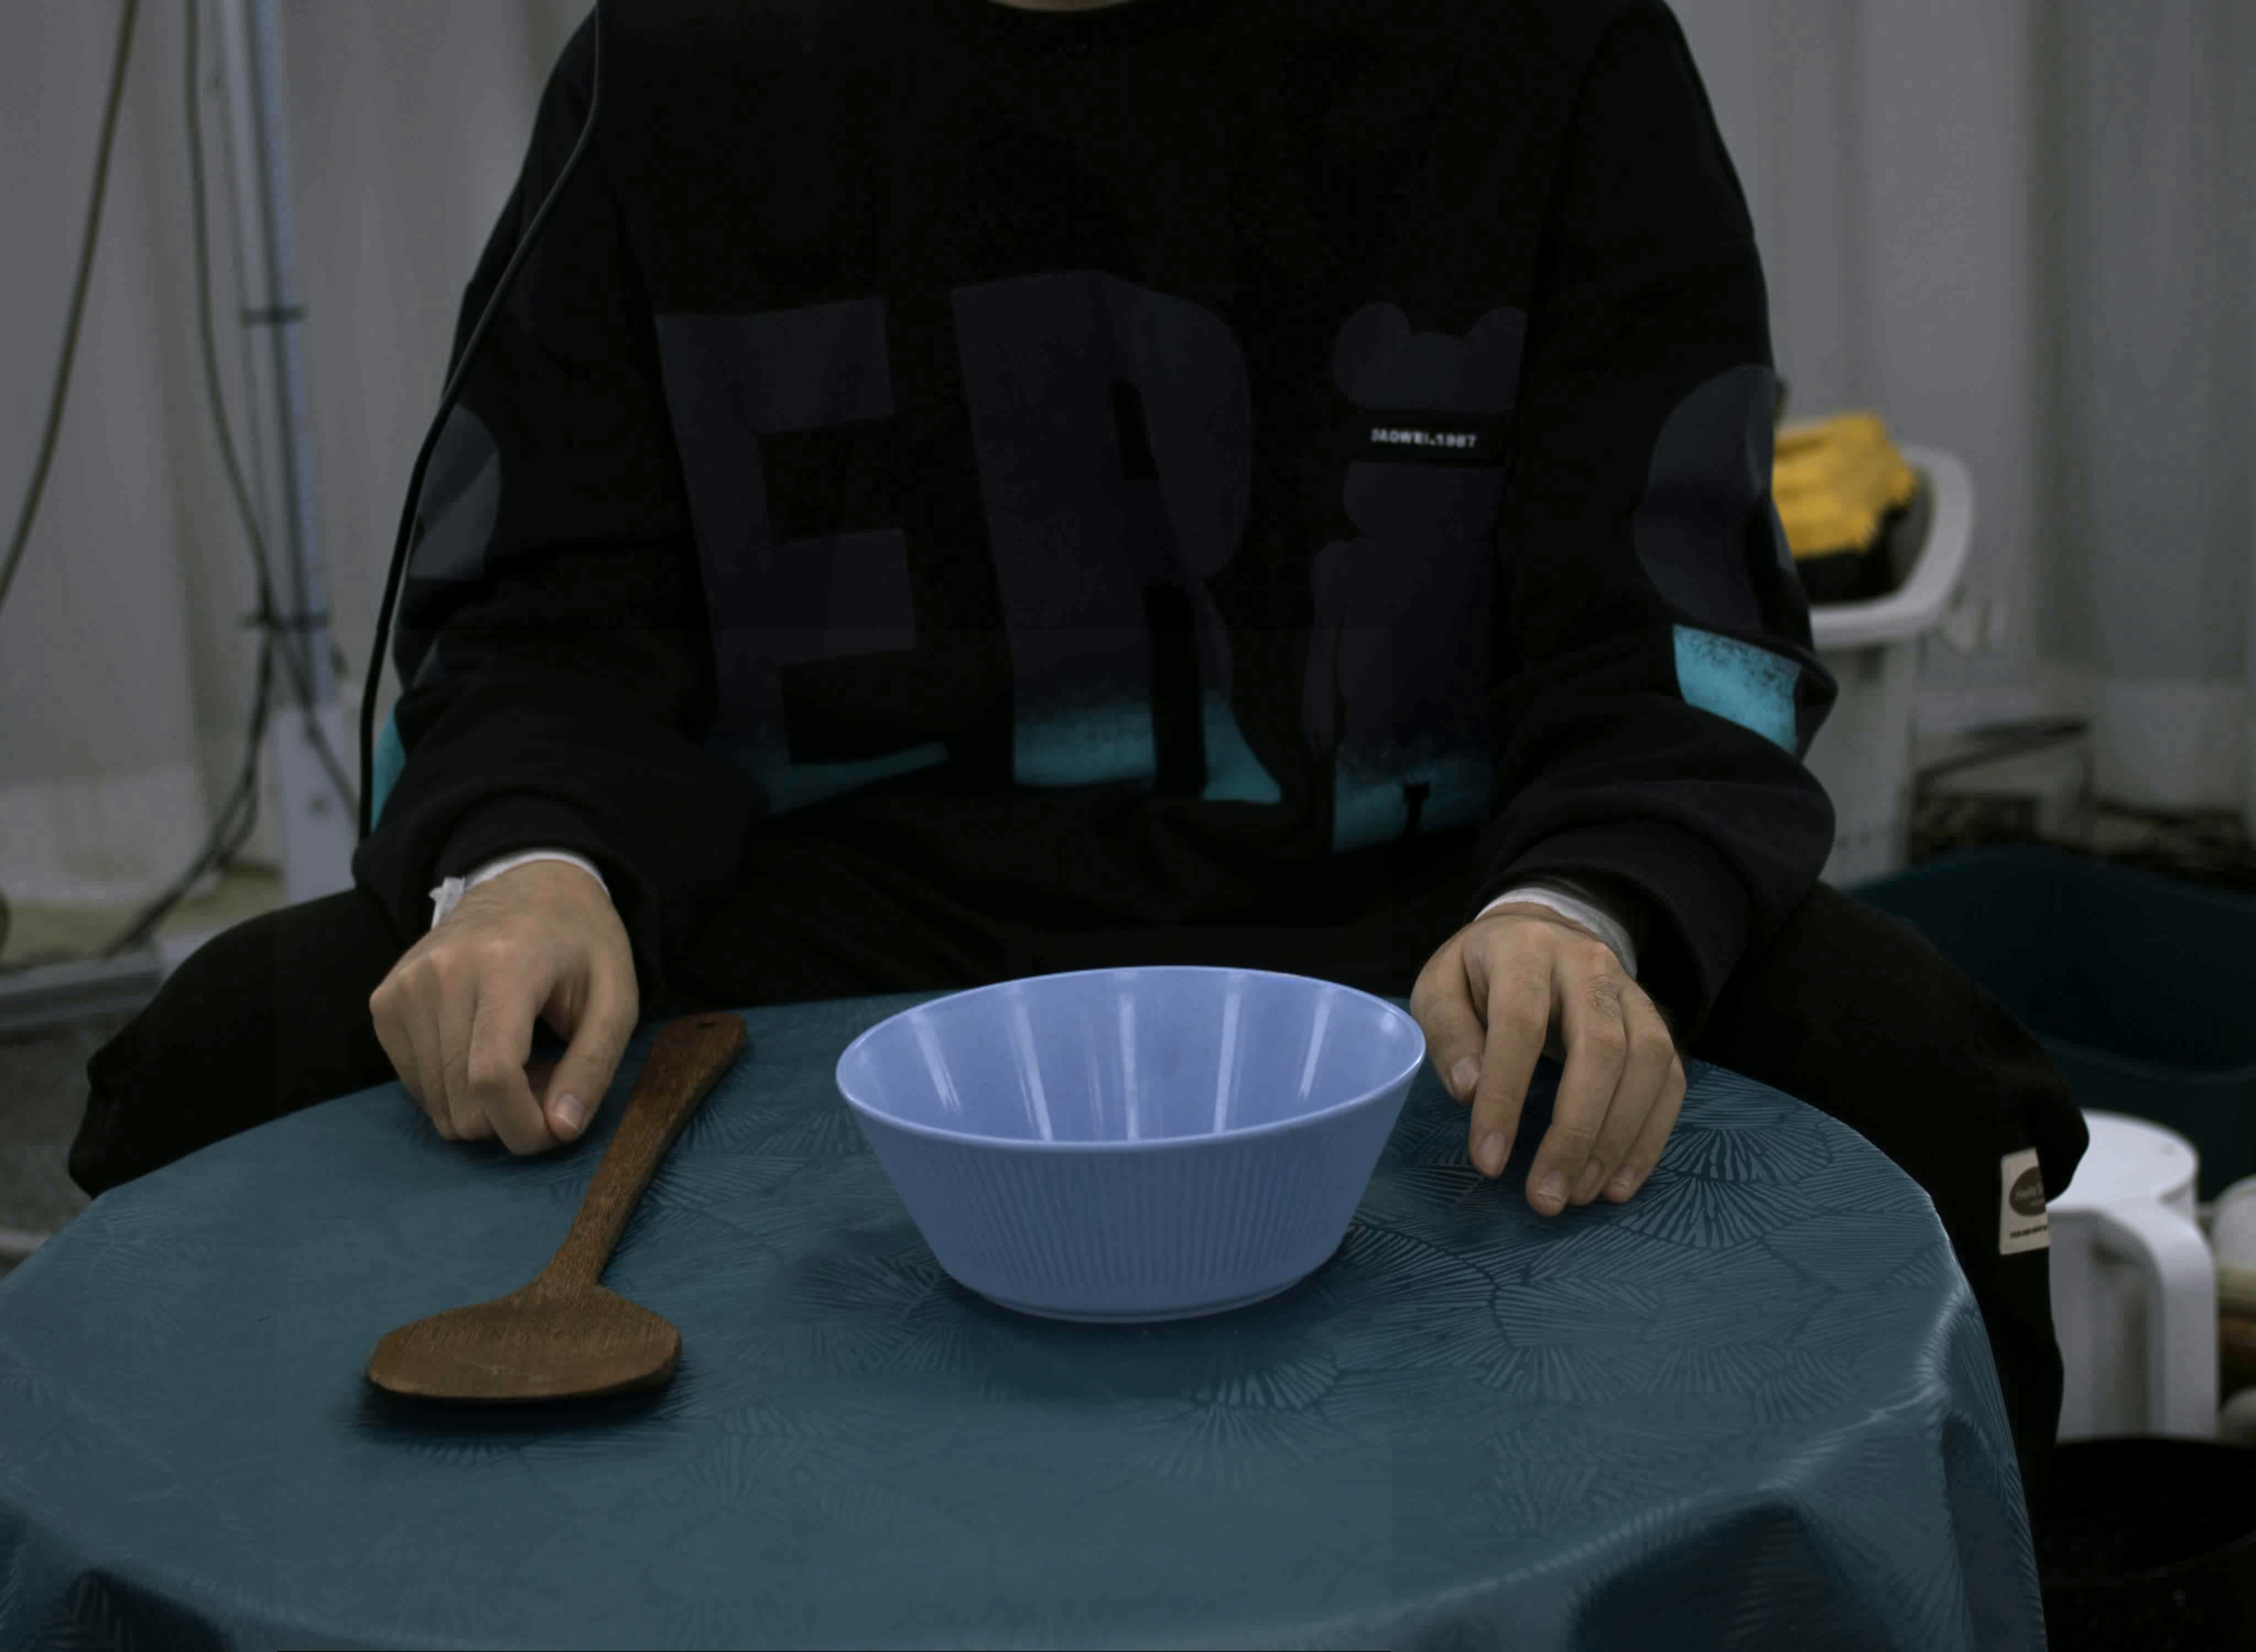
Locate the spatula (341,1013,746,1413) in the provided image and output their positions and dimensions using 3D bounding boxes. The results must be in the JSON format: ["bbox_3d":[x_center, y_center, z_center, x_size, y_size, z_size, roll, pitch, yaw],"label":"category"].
[{"bbox_3d":[-0.162,0.115,1.717,0.096,0.016,0.388,-1,15,5],"label":"spatula"}]

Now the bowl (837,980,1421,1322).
[{"bbox_3d":[0.001,0.099,1.639,0.175,0.070,0.177,-2,13,0],"label":"bowl"}]
